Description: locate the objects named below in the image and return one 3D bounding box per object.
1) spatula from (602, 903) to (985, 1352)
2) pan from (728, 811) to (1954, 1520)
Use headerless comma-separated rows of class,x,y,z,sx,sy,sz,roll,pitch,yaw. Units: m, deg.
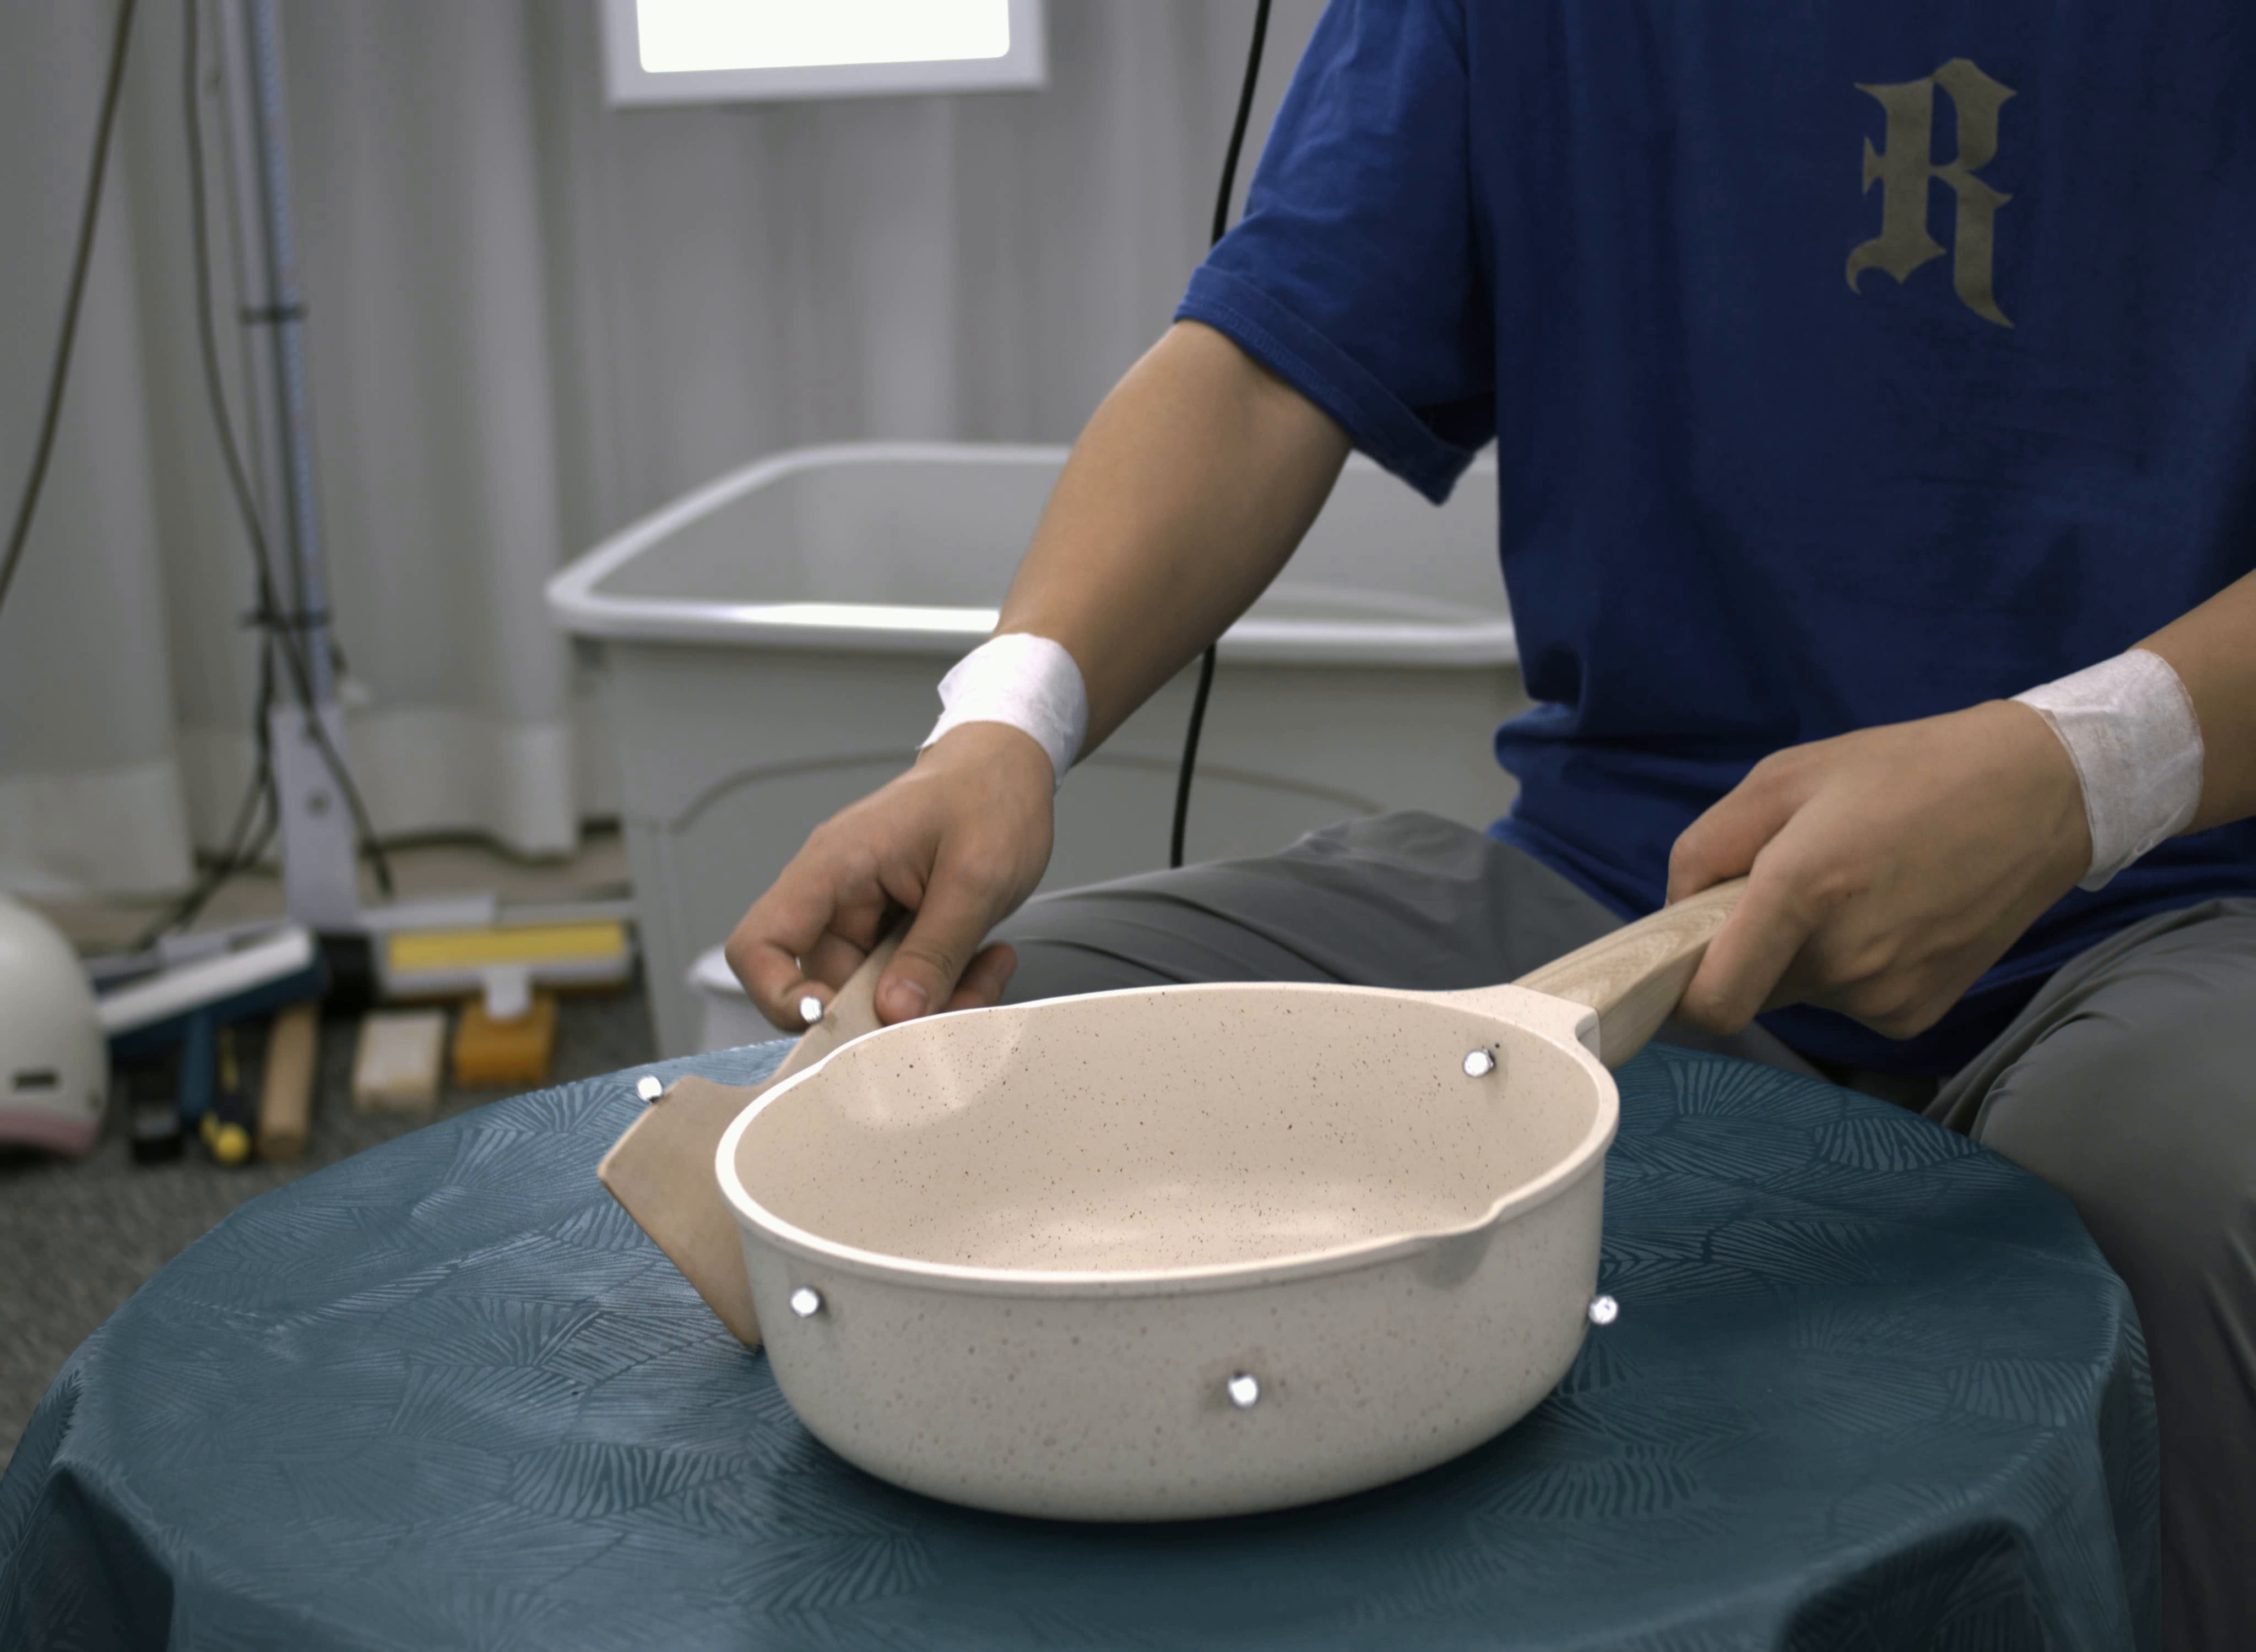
spatula,-0.095,0.081,1.714,0.010,0.072,0.295,-40,5,24
pan,0.088,0.092,1.567,0.434,0.101,0.265,-16,17,-36
